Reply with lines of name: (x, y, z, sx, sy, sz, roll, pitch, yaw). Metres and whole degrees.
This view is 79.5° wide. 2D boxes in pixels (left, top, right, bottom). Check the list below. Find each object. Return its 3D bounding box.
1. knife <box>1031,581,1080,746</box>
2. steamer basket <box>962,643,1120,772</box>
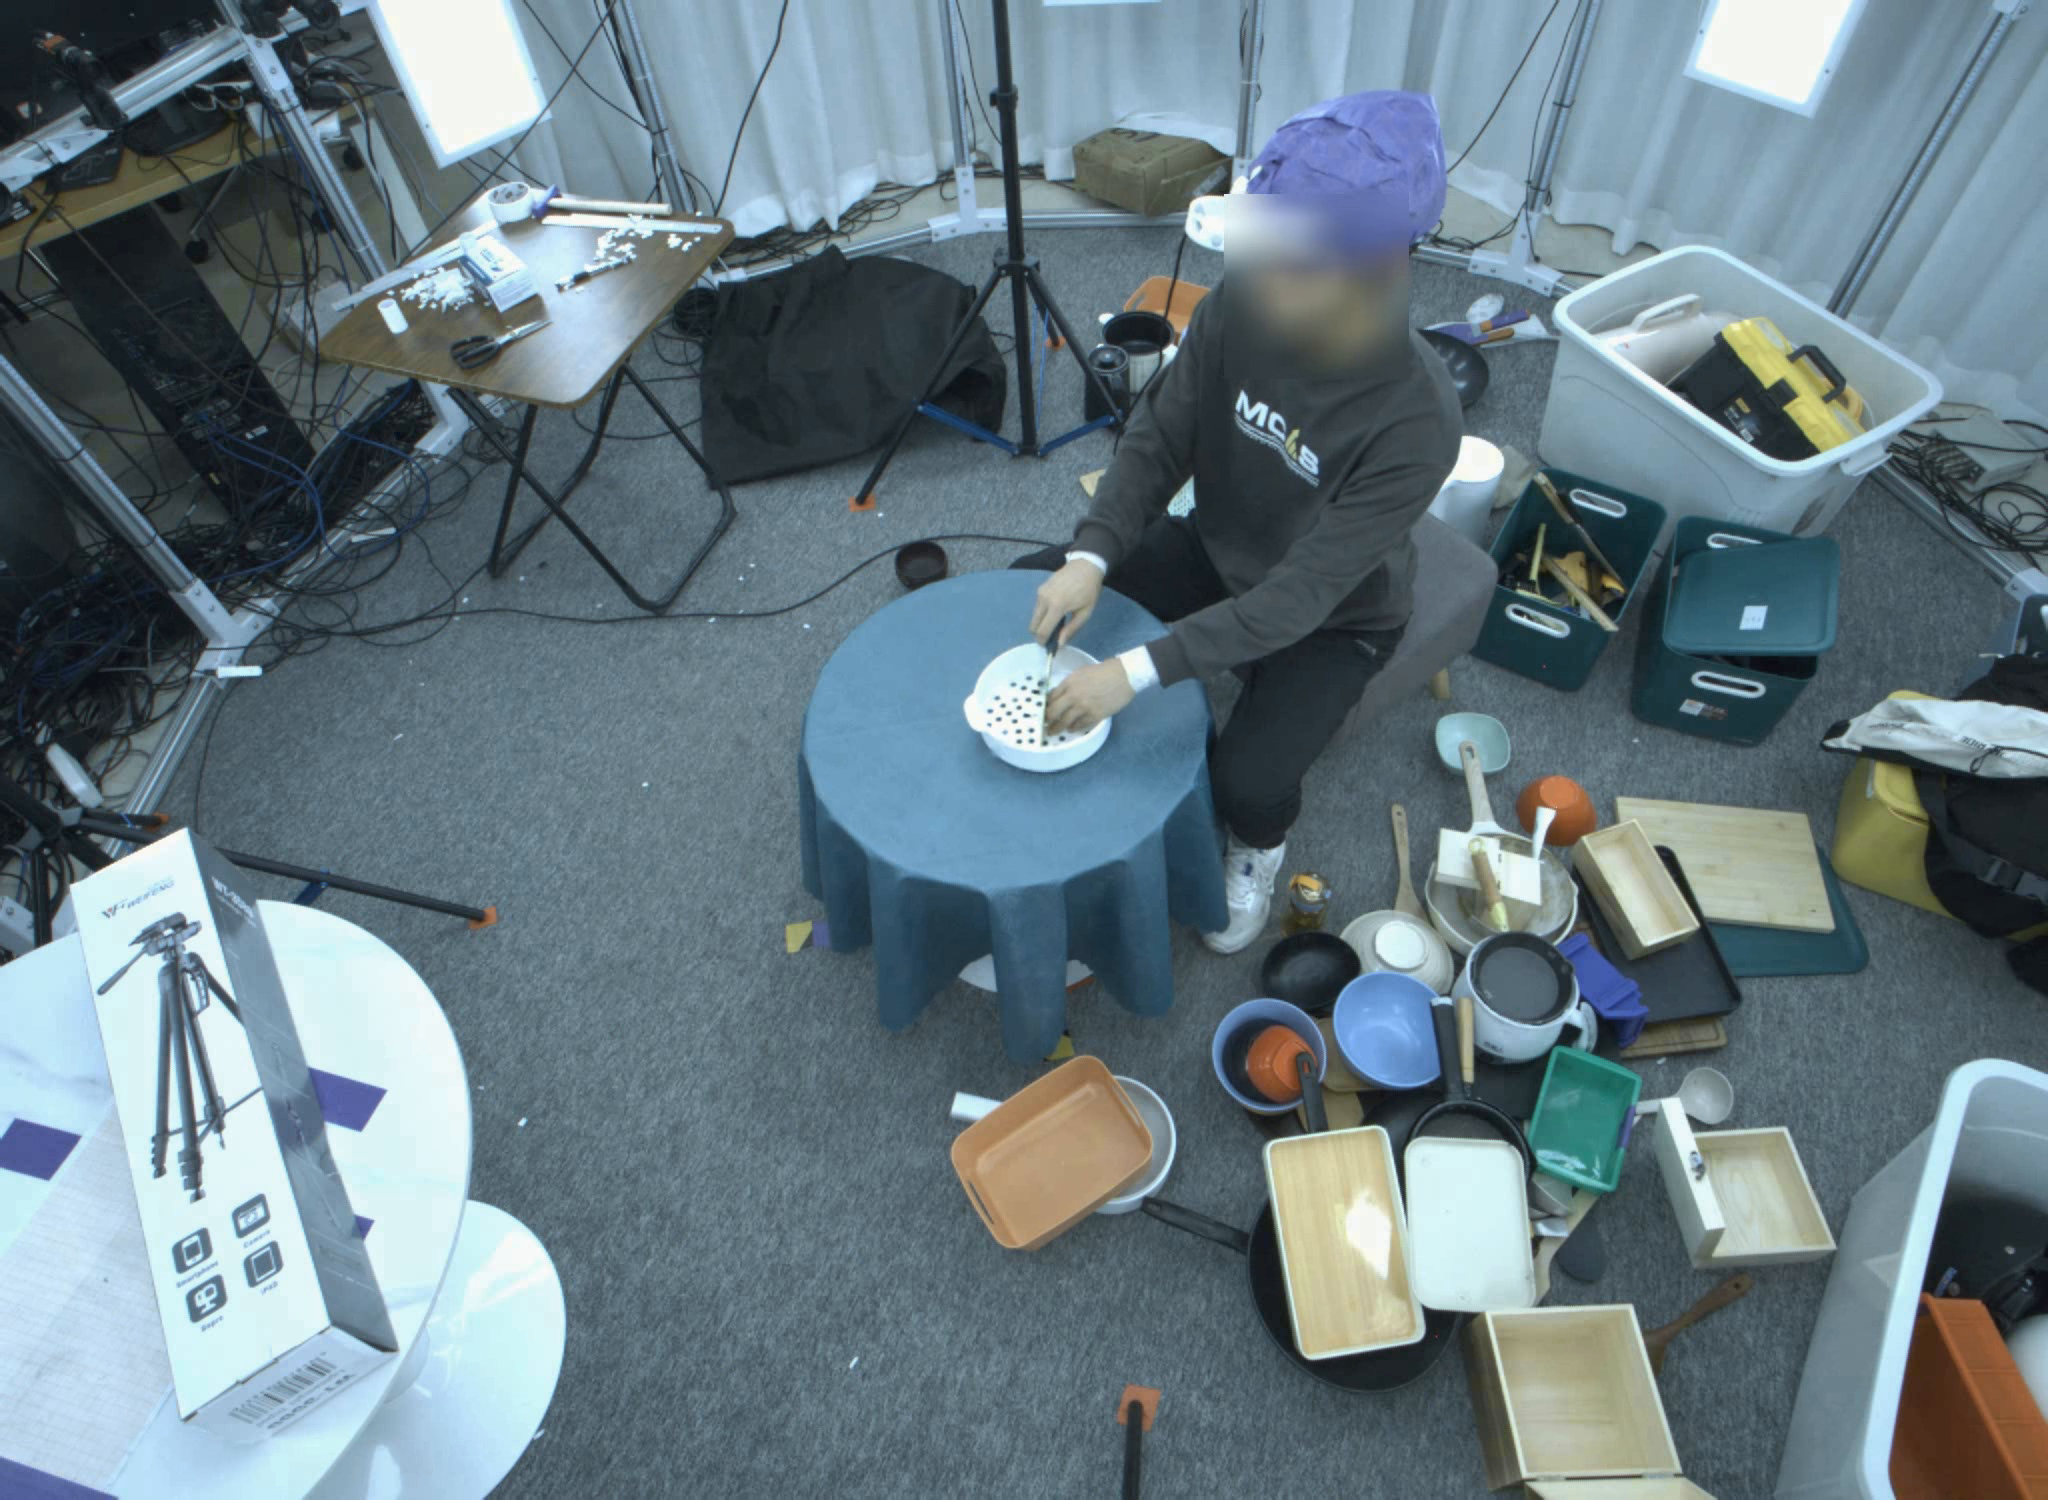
knife: (0.041, -0.119, 1.798, 0.027, 0.081, 0.288, 13, 67, 3)
steamer basket: (0.025, -0.060, 1.796, 0.232, 0.070, 0.198, -13, 56, -10)
